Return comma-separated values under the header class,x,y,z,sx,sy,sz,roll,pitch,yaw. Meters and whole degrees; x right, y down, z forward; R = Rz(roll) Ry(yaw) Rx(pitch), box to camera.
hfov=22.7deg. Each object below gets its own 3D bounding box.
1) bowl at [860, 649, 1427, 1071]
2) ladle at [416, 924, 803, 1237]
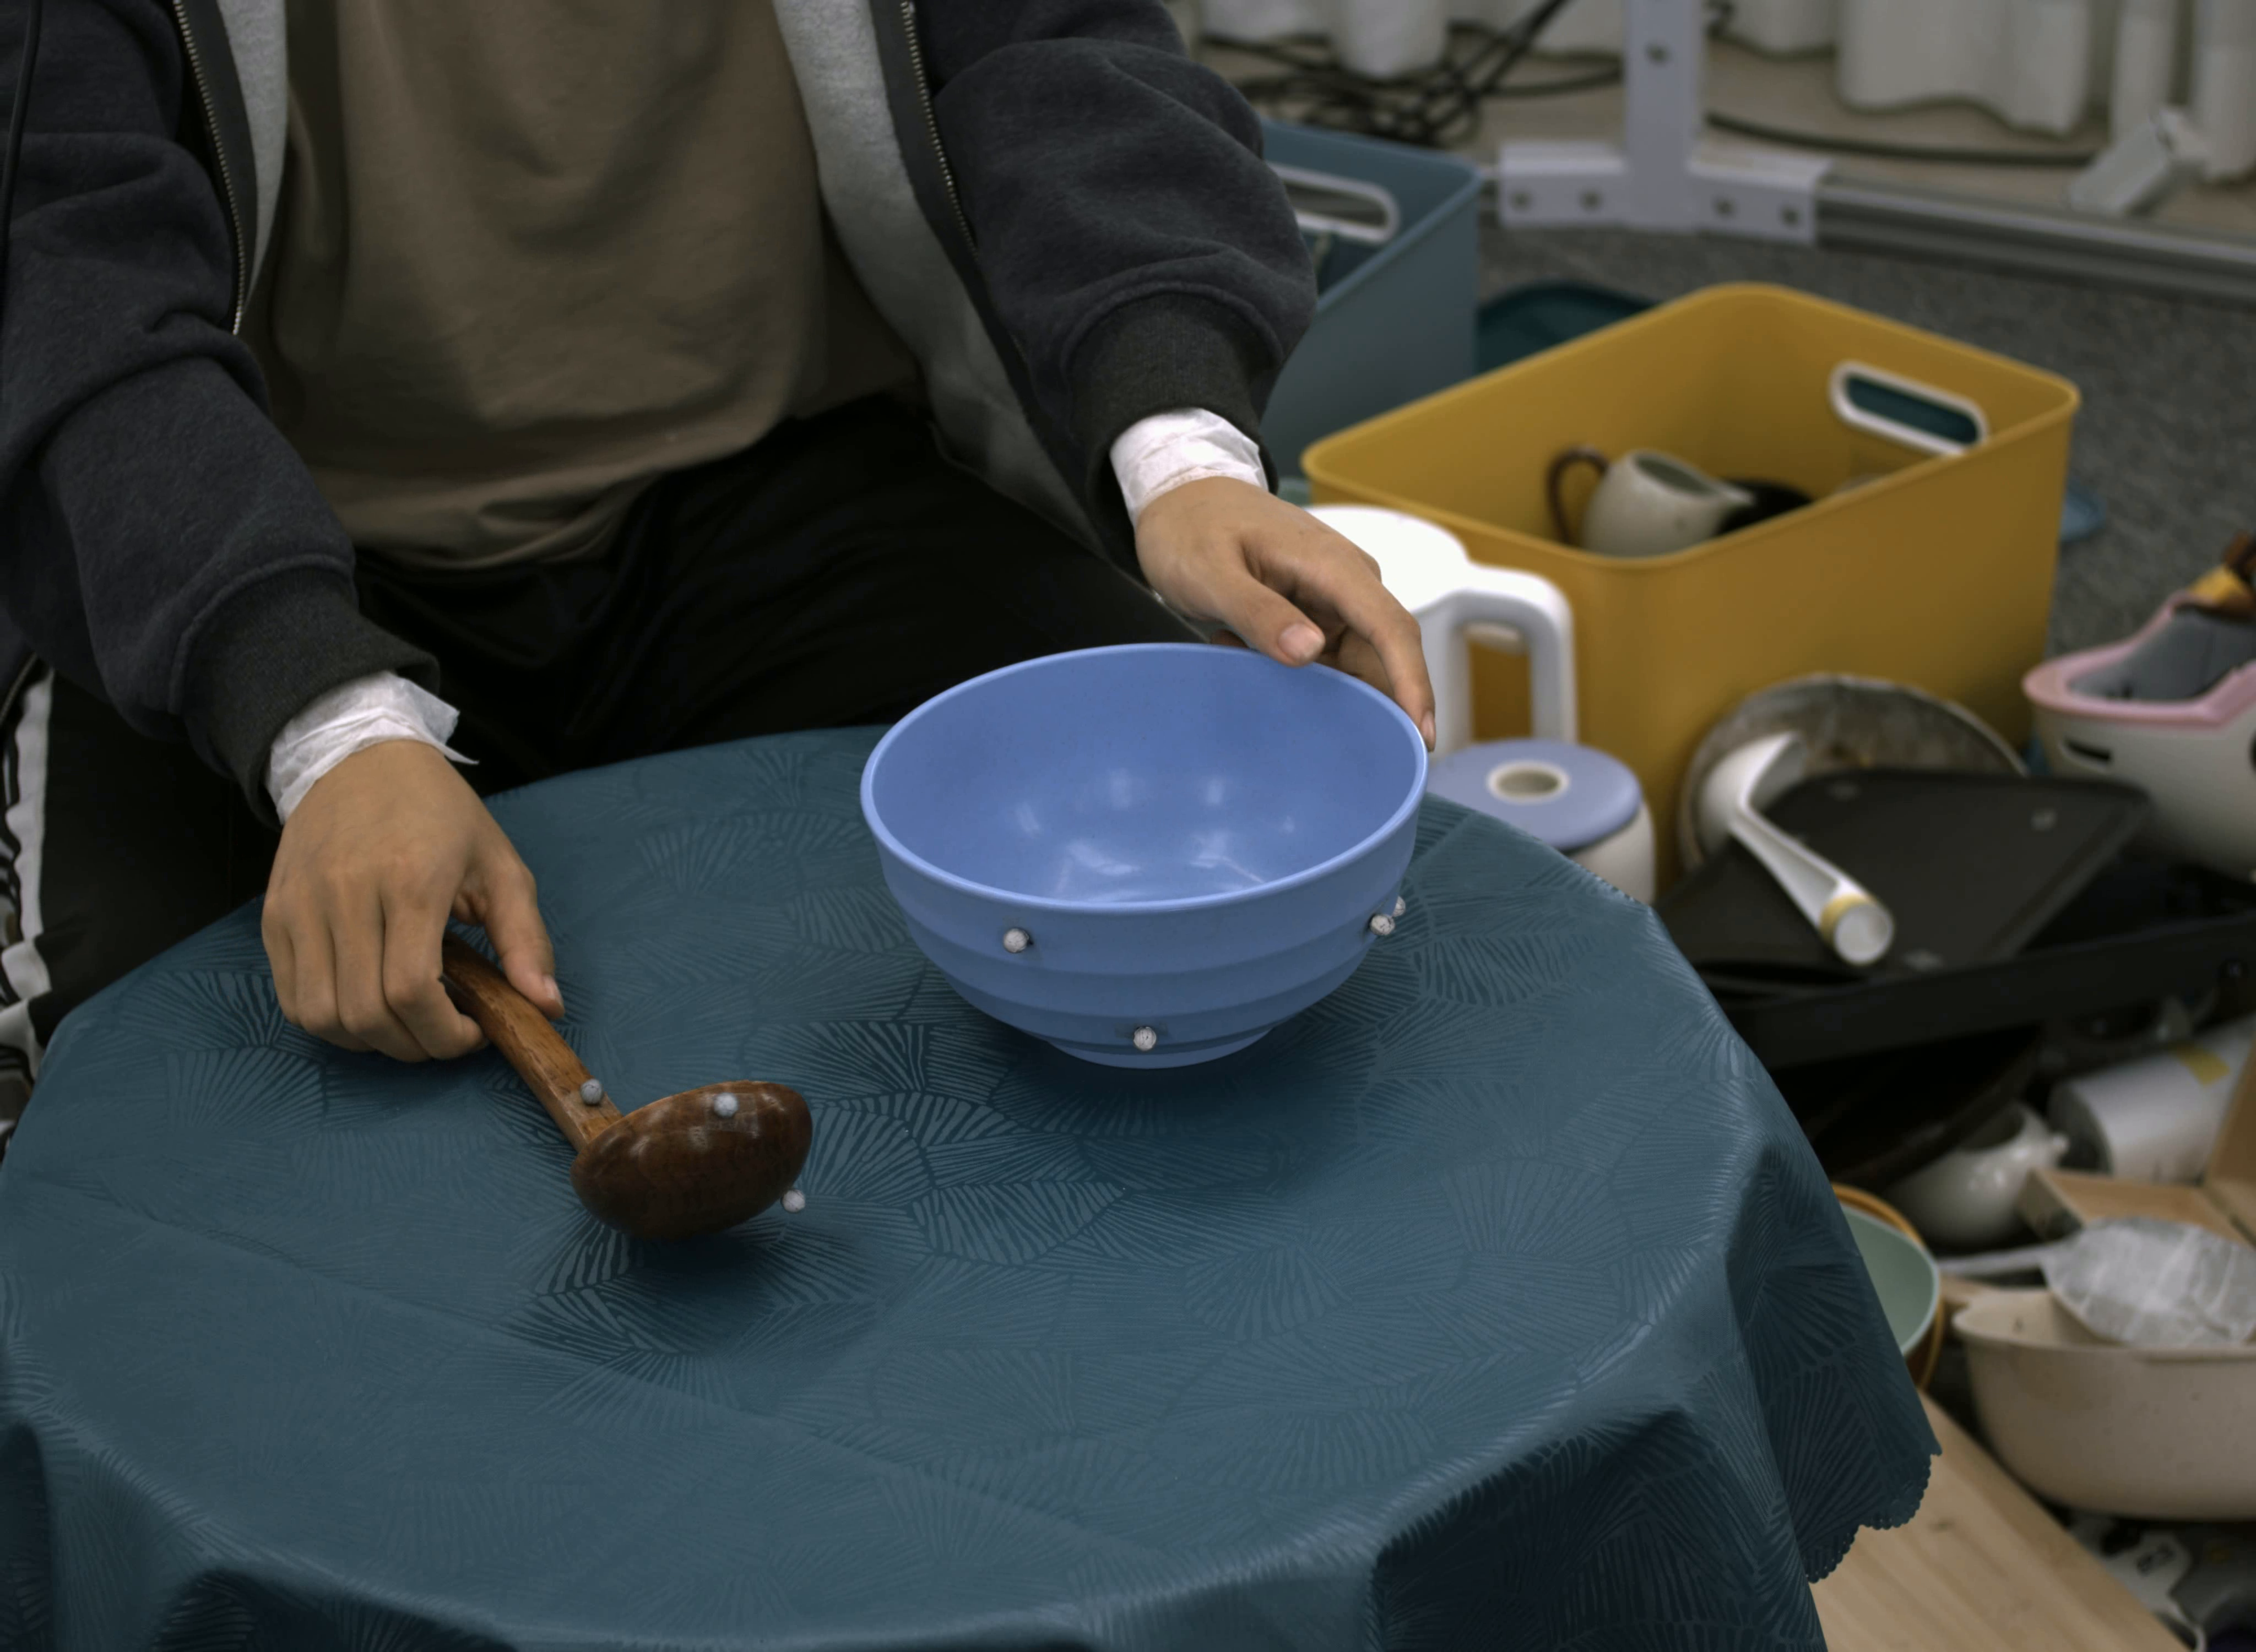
class,x,y,z,sx,sy,sz,roll,pitch,yaw
bowl,0.008,0.022,1.953,0.195,0.094,0.199,-3,26,2
ladle,-0.190,0.065,1.905,0.082,0.076,0.276,-4,25,-26
